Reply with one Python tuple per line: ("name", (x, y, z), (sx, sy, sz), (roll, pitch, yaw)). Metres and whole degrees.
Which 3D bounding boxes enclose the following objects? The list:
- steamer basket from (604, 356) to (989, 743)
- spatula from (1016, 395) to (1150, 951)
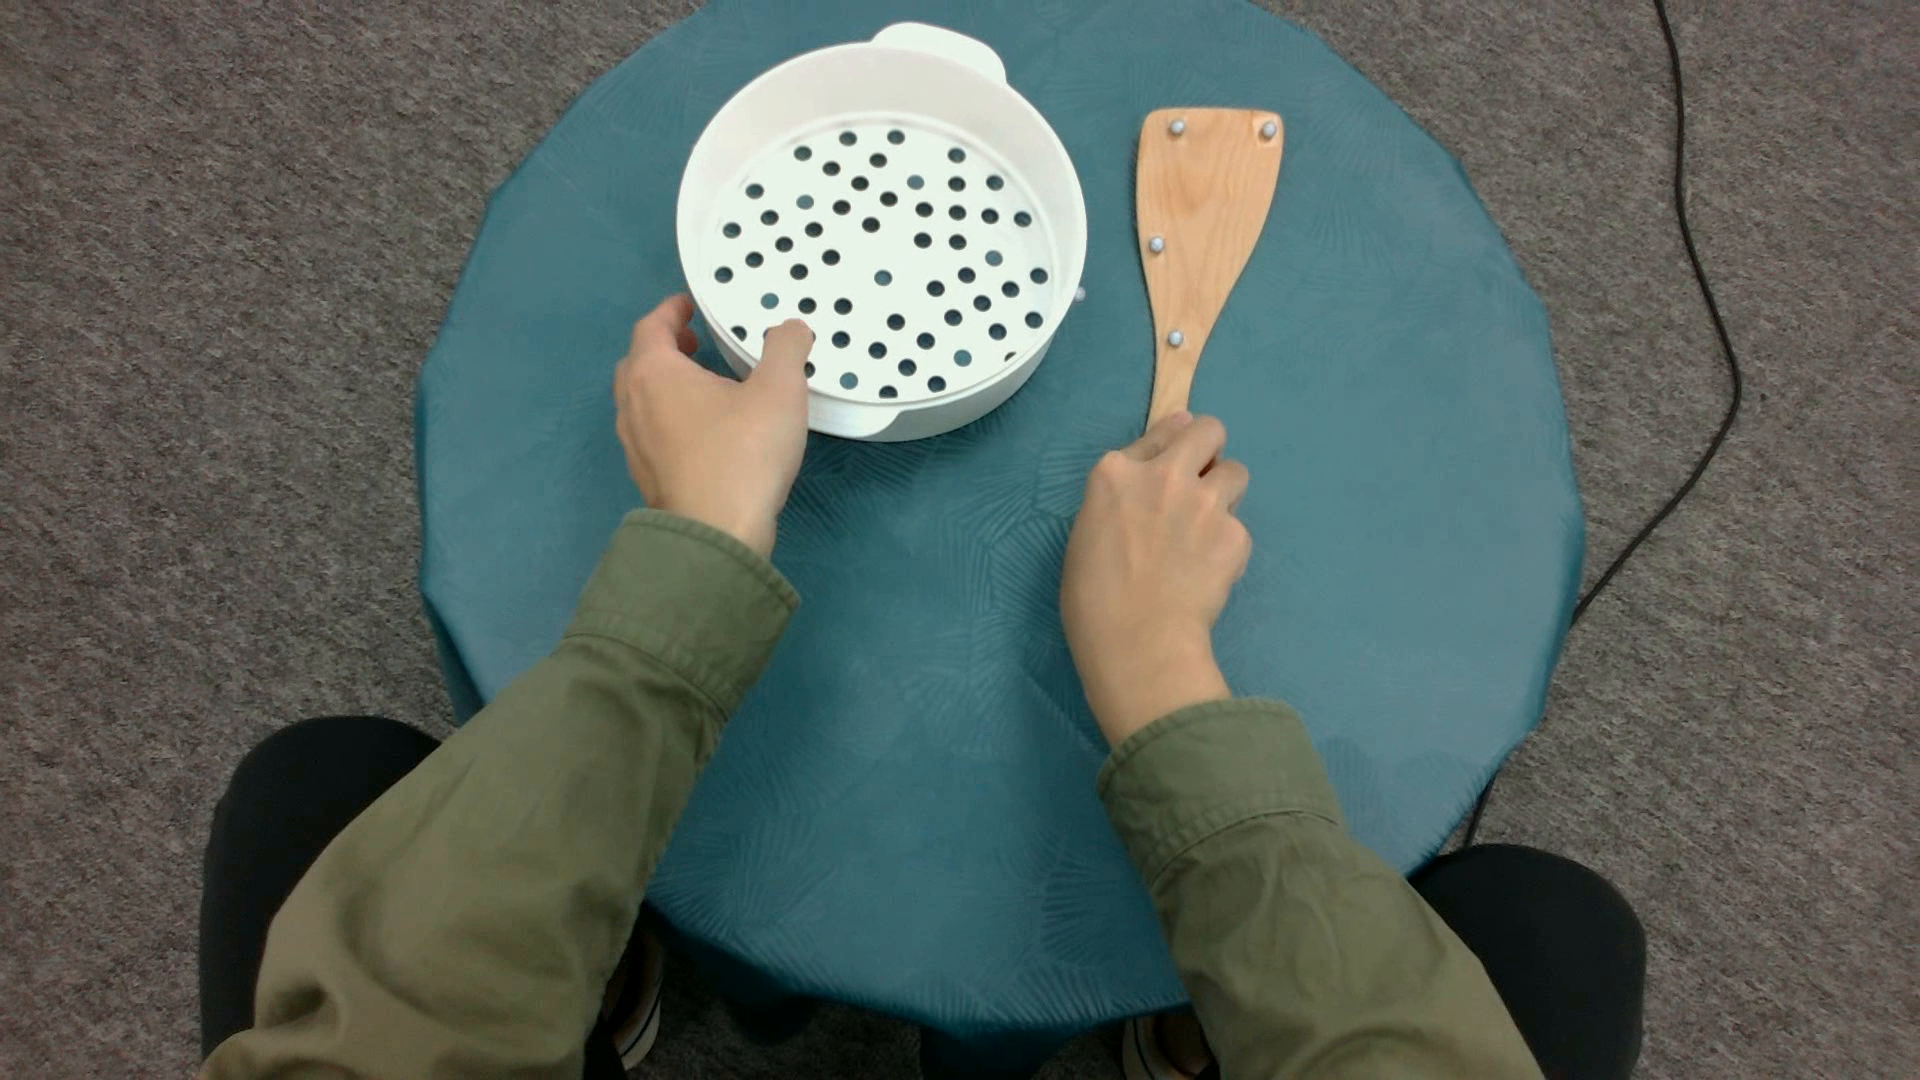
("steamer basket", (-0.086, 0.010, 0.749), (0.202, 0.069, 0.231), (6, 61, 2))
("spatula", (0.071, 0.057, 0.753), (0.080, 0.016, 0.329), (1, 59, -1))
